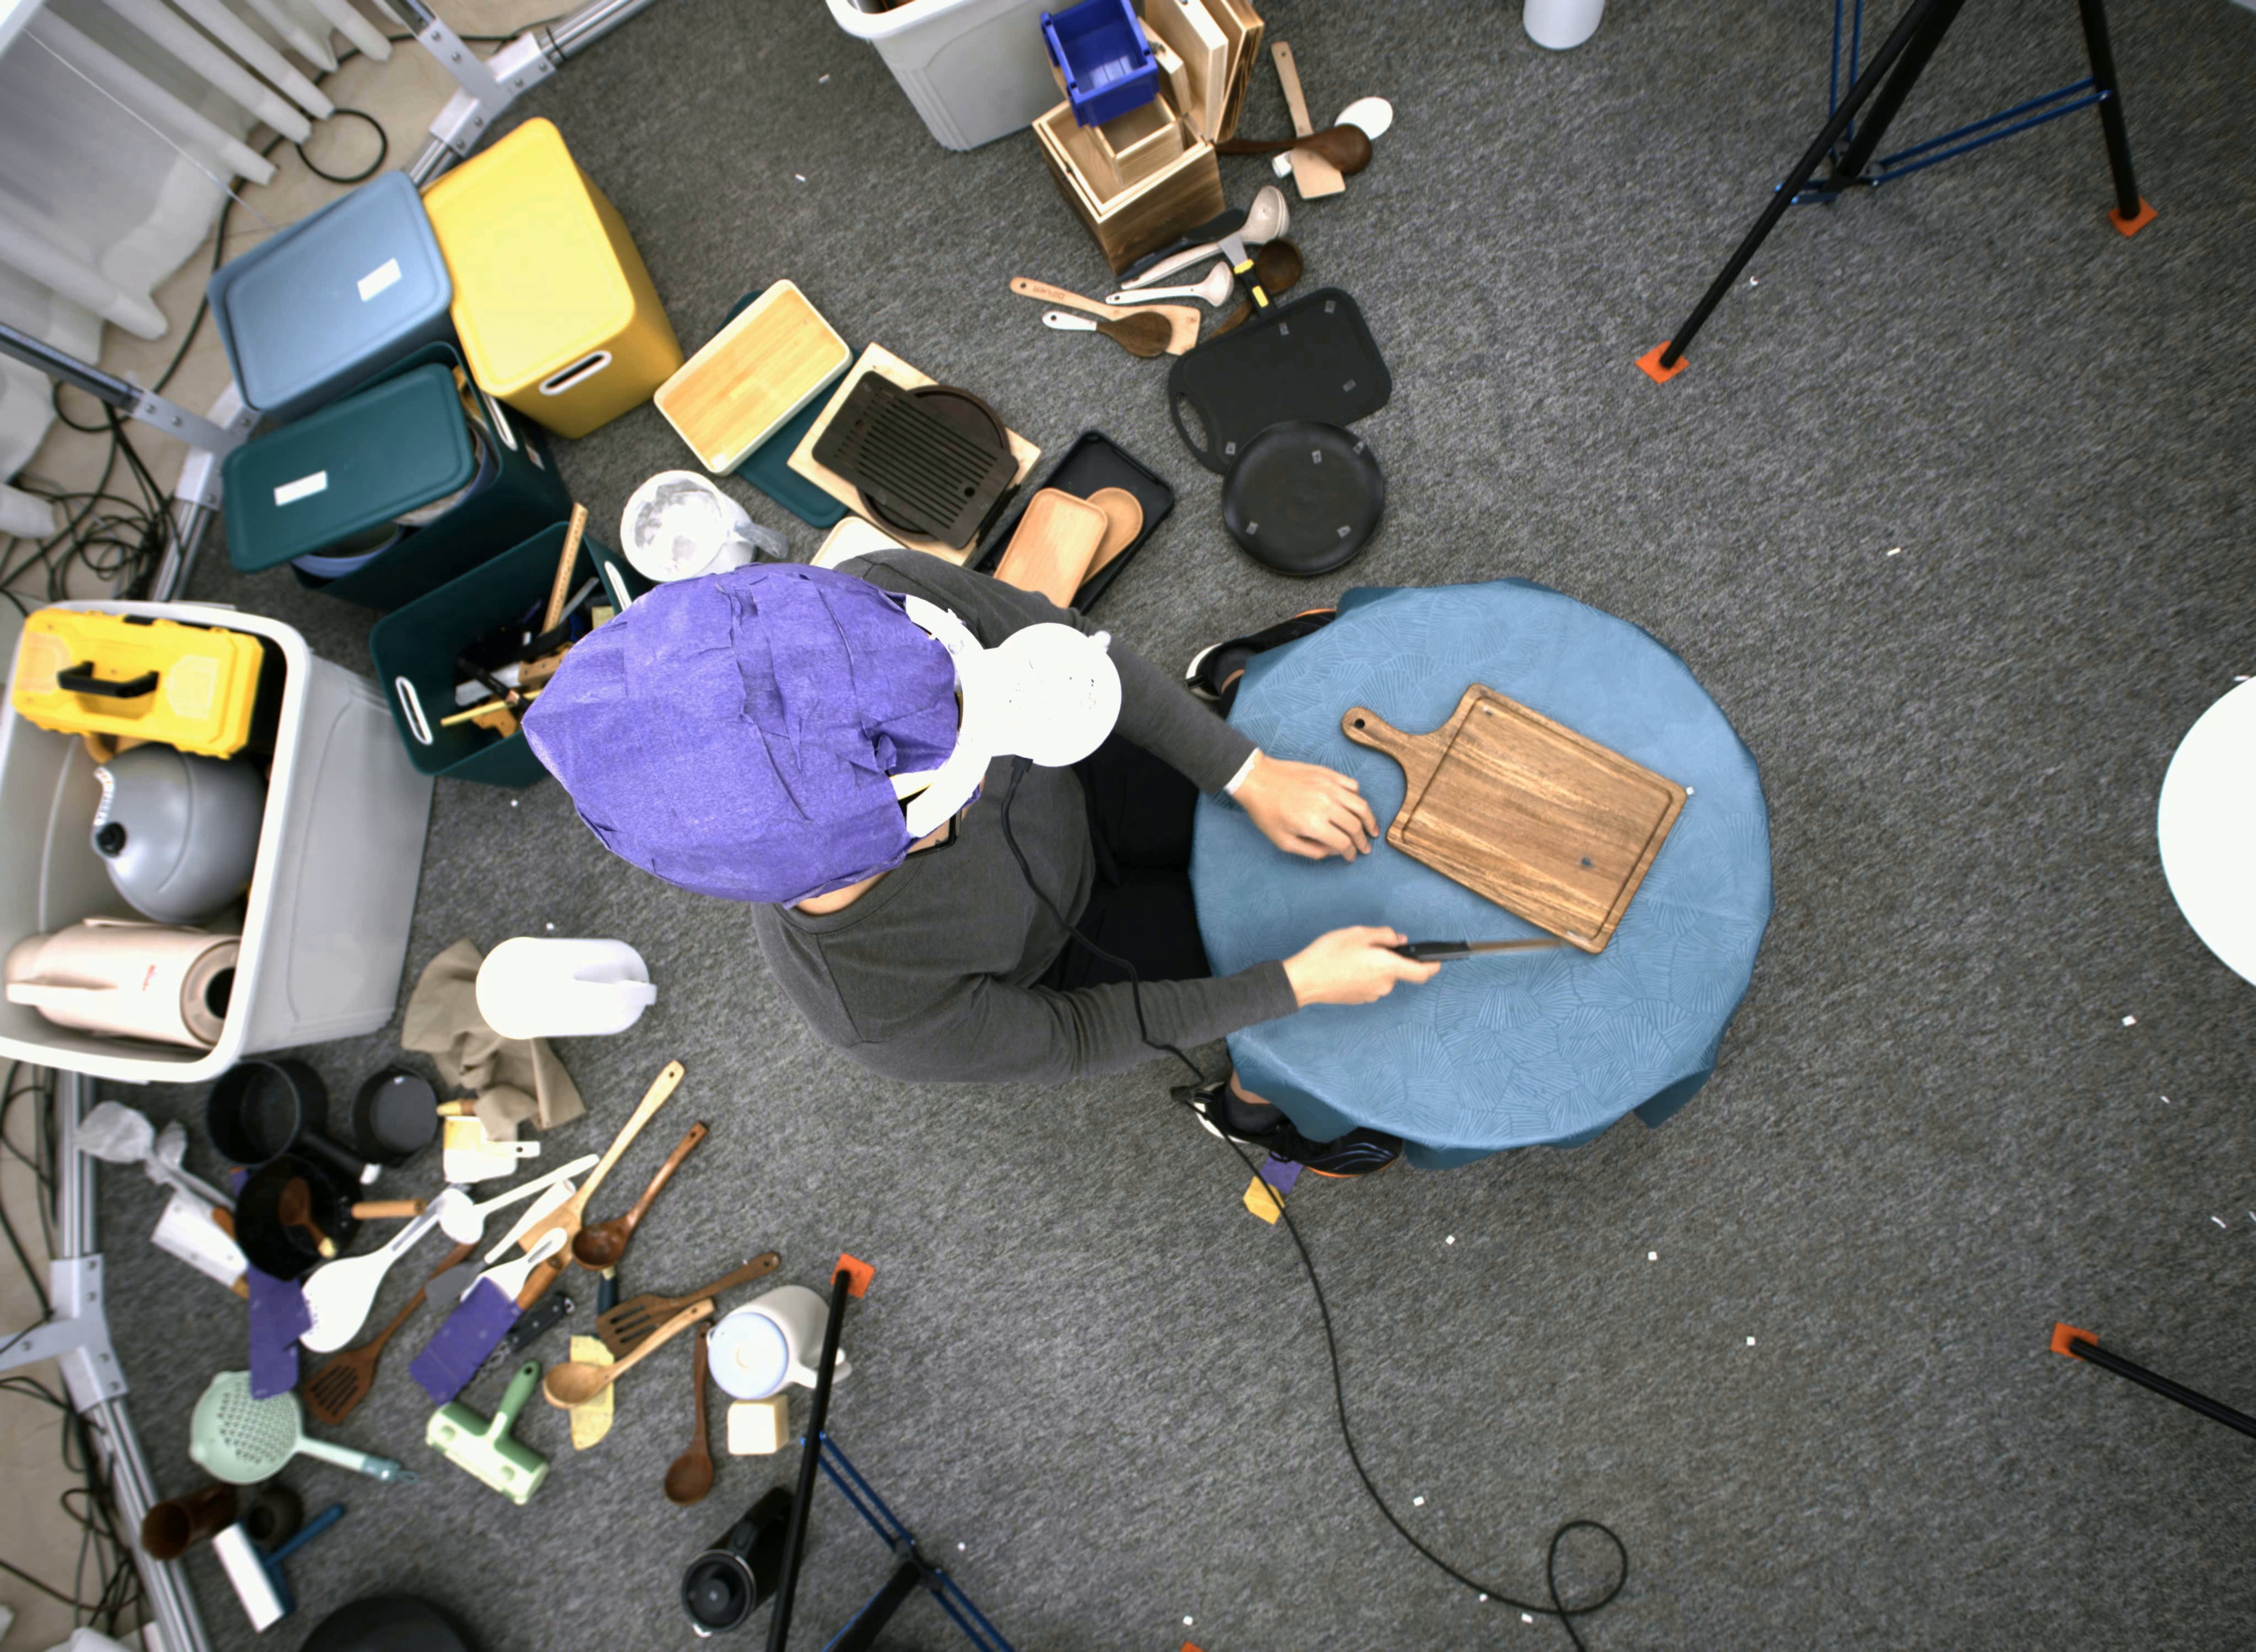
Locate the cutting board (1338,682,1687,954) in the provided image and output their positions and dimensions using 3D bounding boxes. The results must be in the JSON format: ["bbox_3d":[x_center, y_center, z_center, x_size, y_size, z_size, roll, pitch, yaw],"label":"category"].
[{"bbox_3d":[0.379,-0.036,1.435,0.351,0.023,0.201,29,92,11],"label":"cutting board"}]

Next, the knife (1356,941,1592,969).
[{"bbox_3d":[0.349,0.126,1.385,0.239,0.024,0.017,-4,123,3],"label":"knife"}]
